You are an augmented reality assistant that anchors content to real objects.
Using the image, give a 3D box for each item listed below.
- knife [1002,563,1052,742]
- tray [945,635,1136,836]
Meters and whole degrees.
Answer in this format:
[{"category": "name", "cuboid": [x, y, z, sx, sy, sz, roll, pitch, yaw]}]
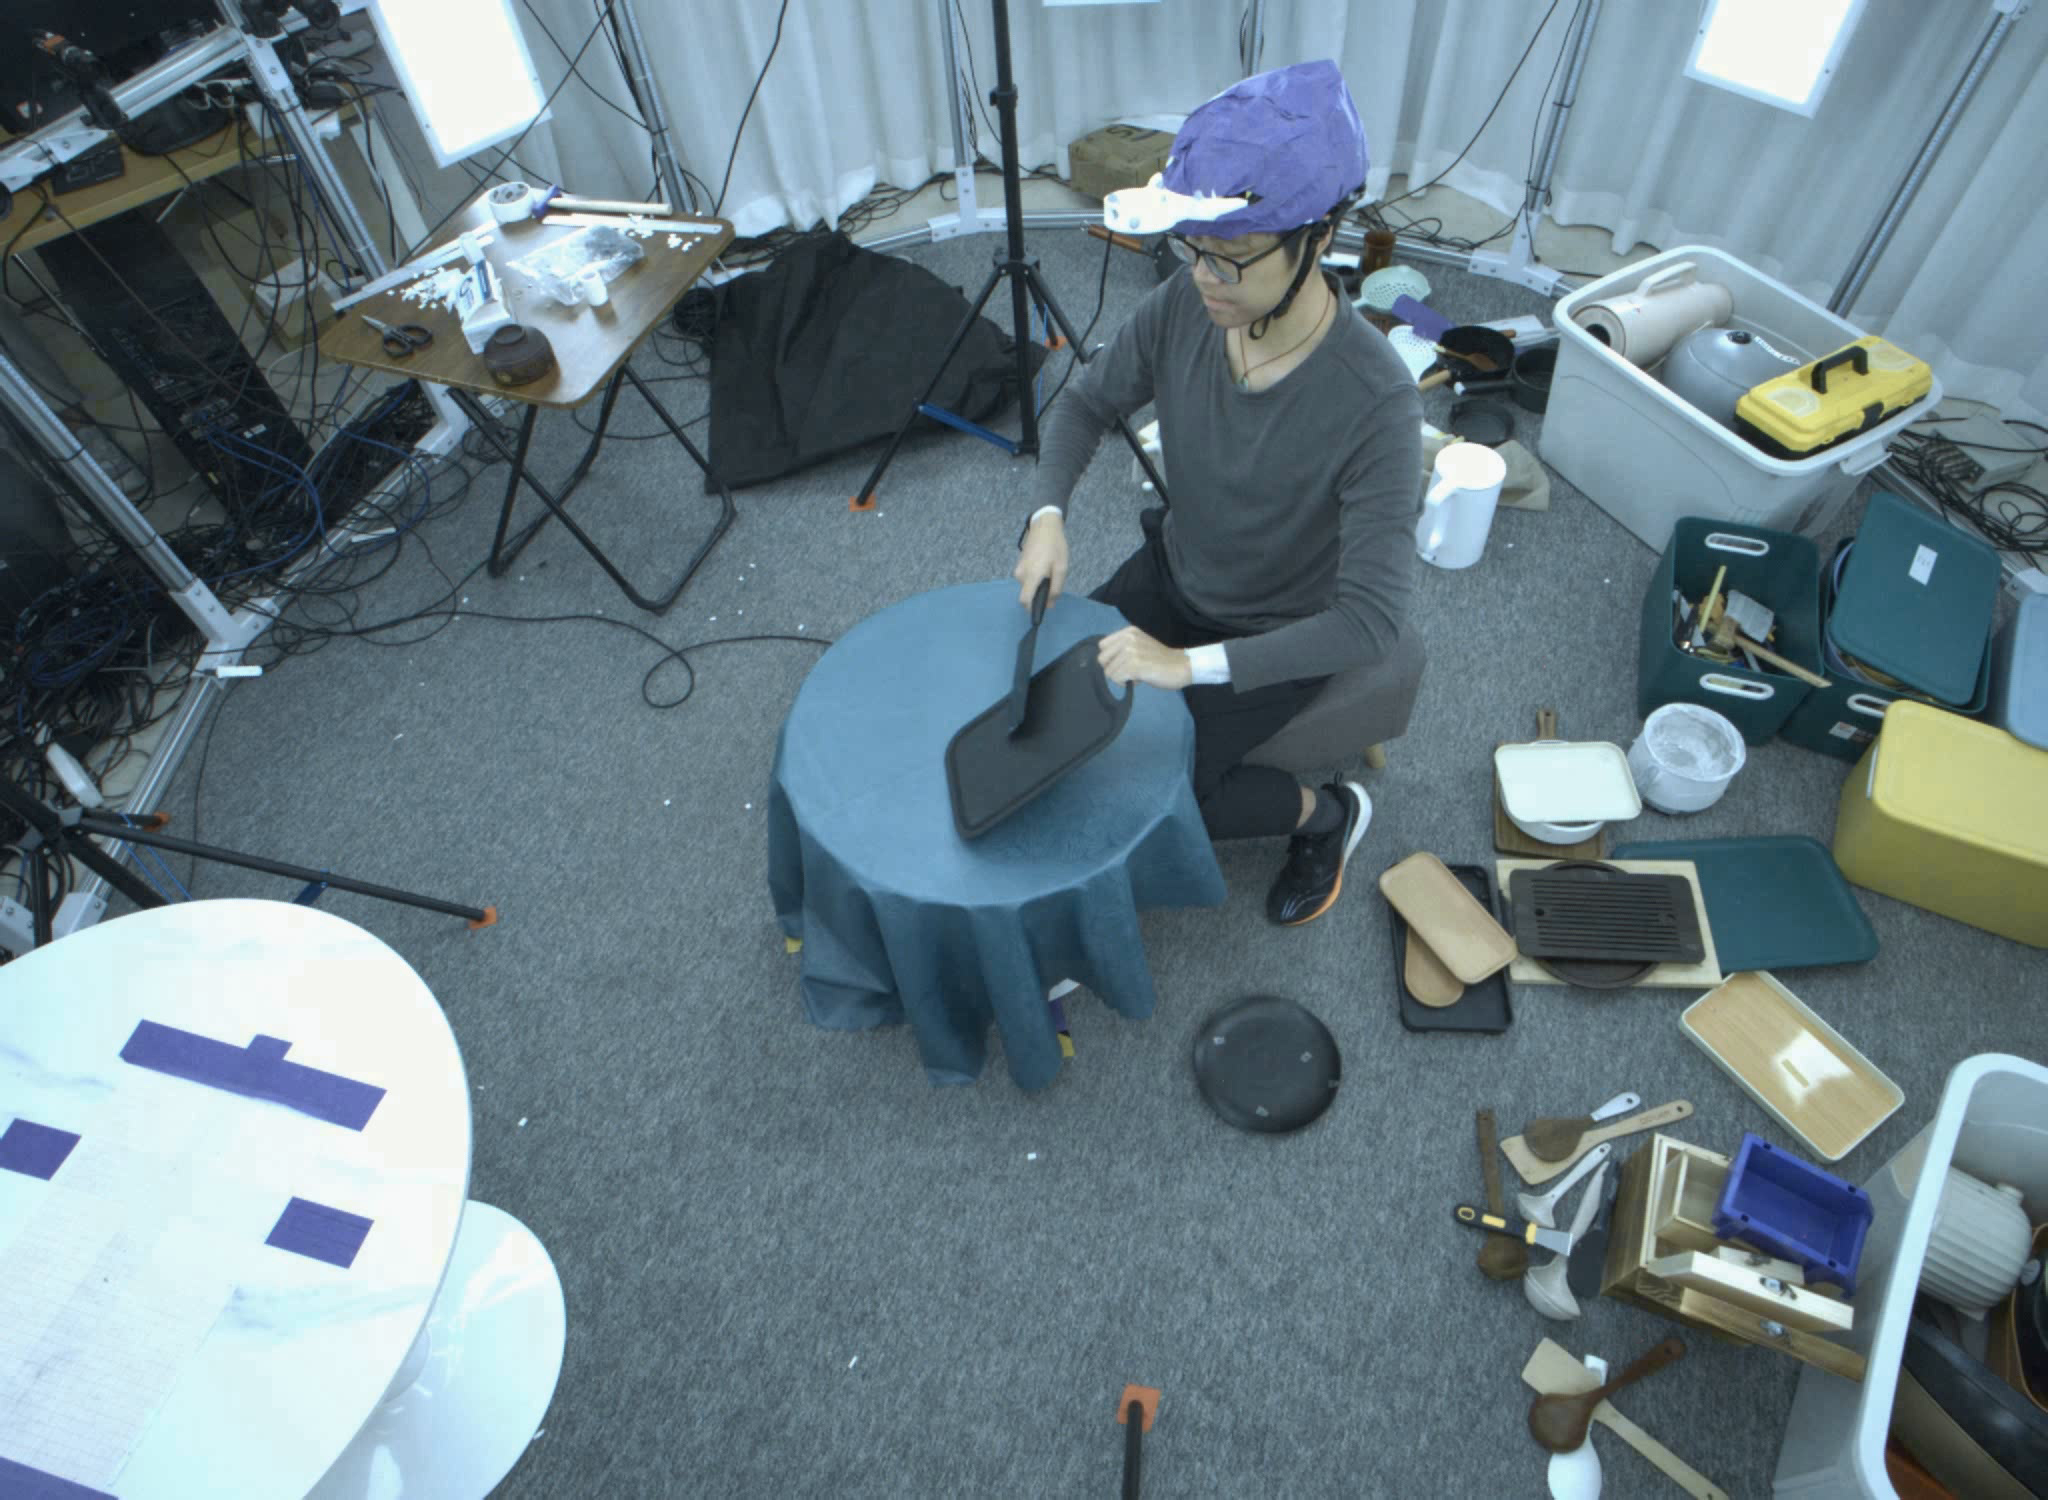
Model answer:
[{"category": "knife", "cuboid": [0.004, -0.148, 1.769, 0.021, 0.080, 0.300, 22, 60, -19]}, {"category": "tray", "cuboid": [0.017, -0.027, 1.686, 0.323, 0.010, 0.208, -34, 43, 21]}]
